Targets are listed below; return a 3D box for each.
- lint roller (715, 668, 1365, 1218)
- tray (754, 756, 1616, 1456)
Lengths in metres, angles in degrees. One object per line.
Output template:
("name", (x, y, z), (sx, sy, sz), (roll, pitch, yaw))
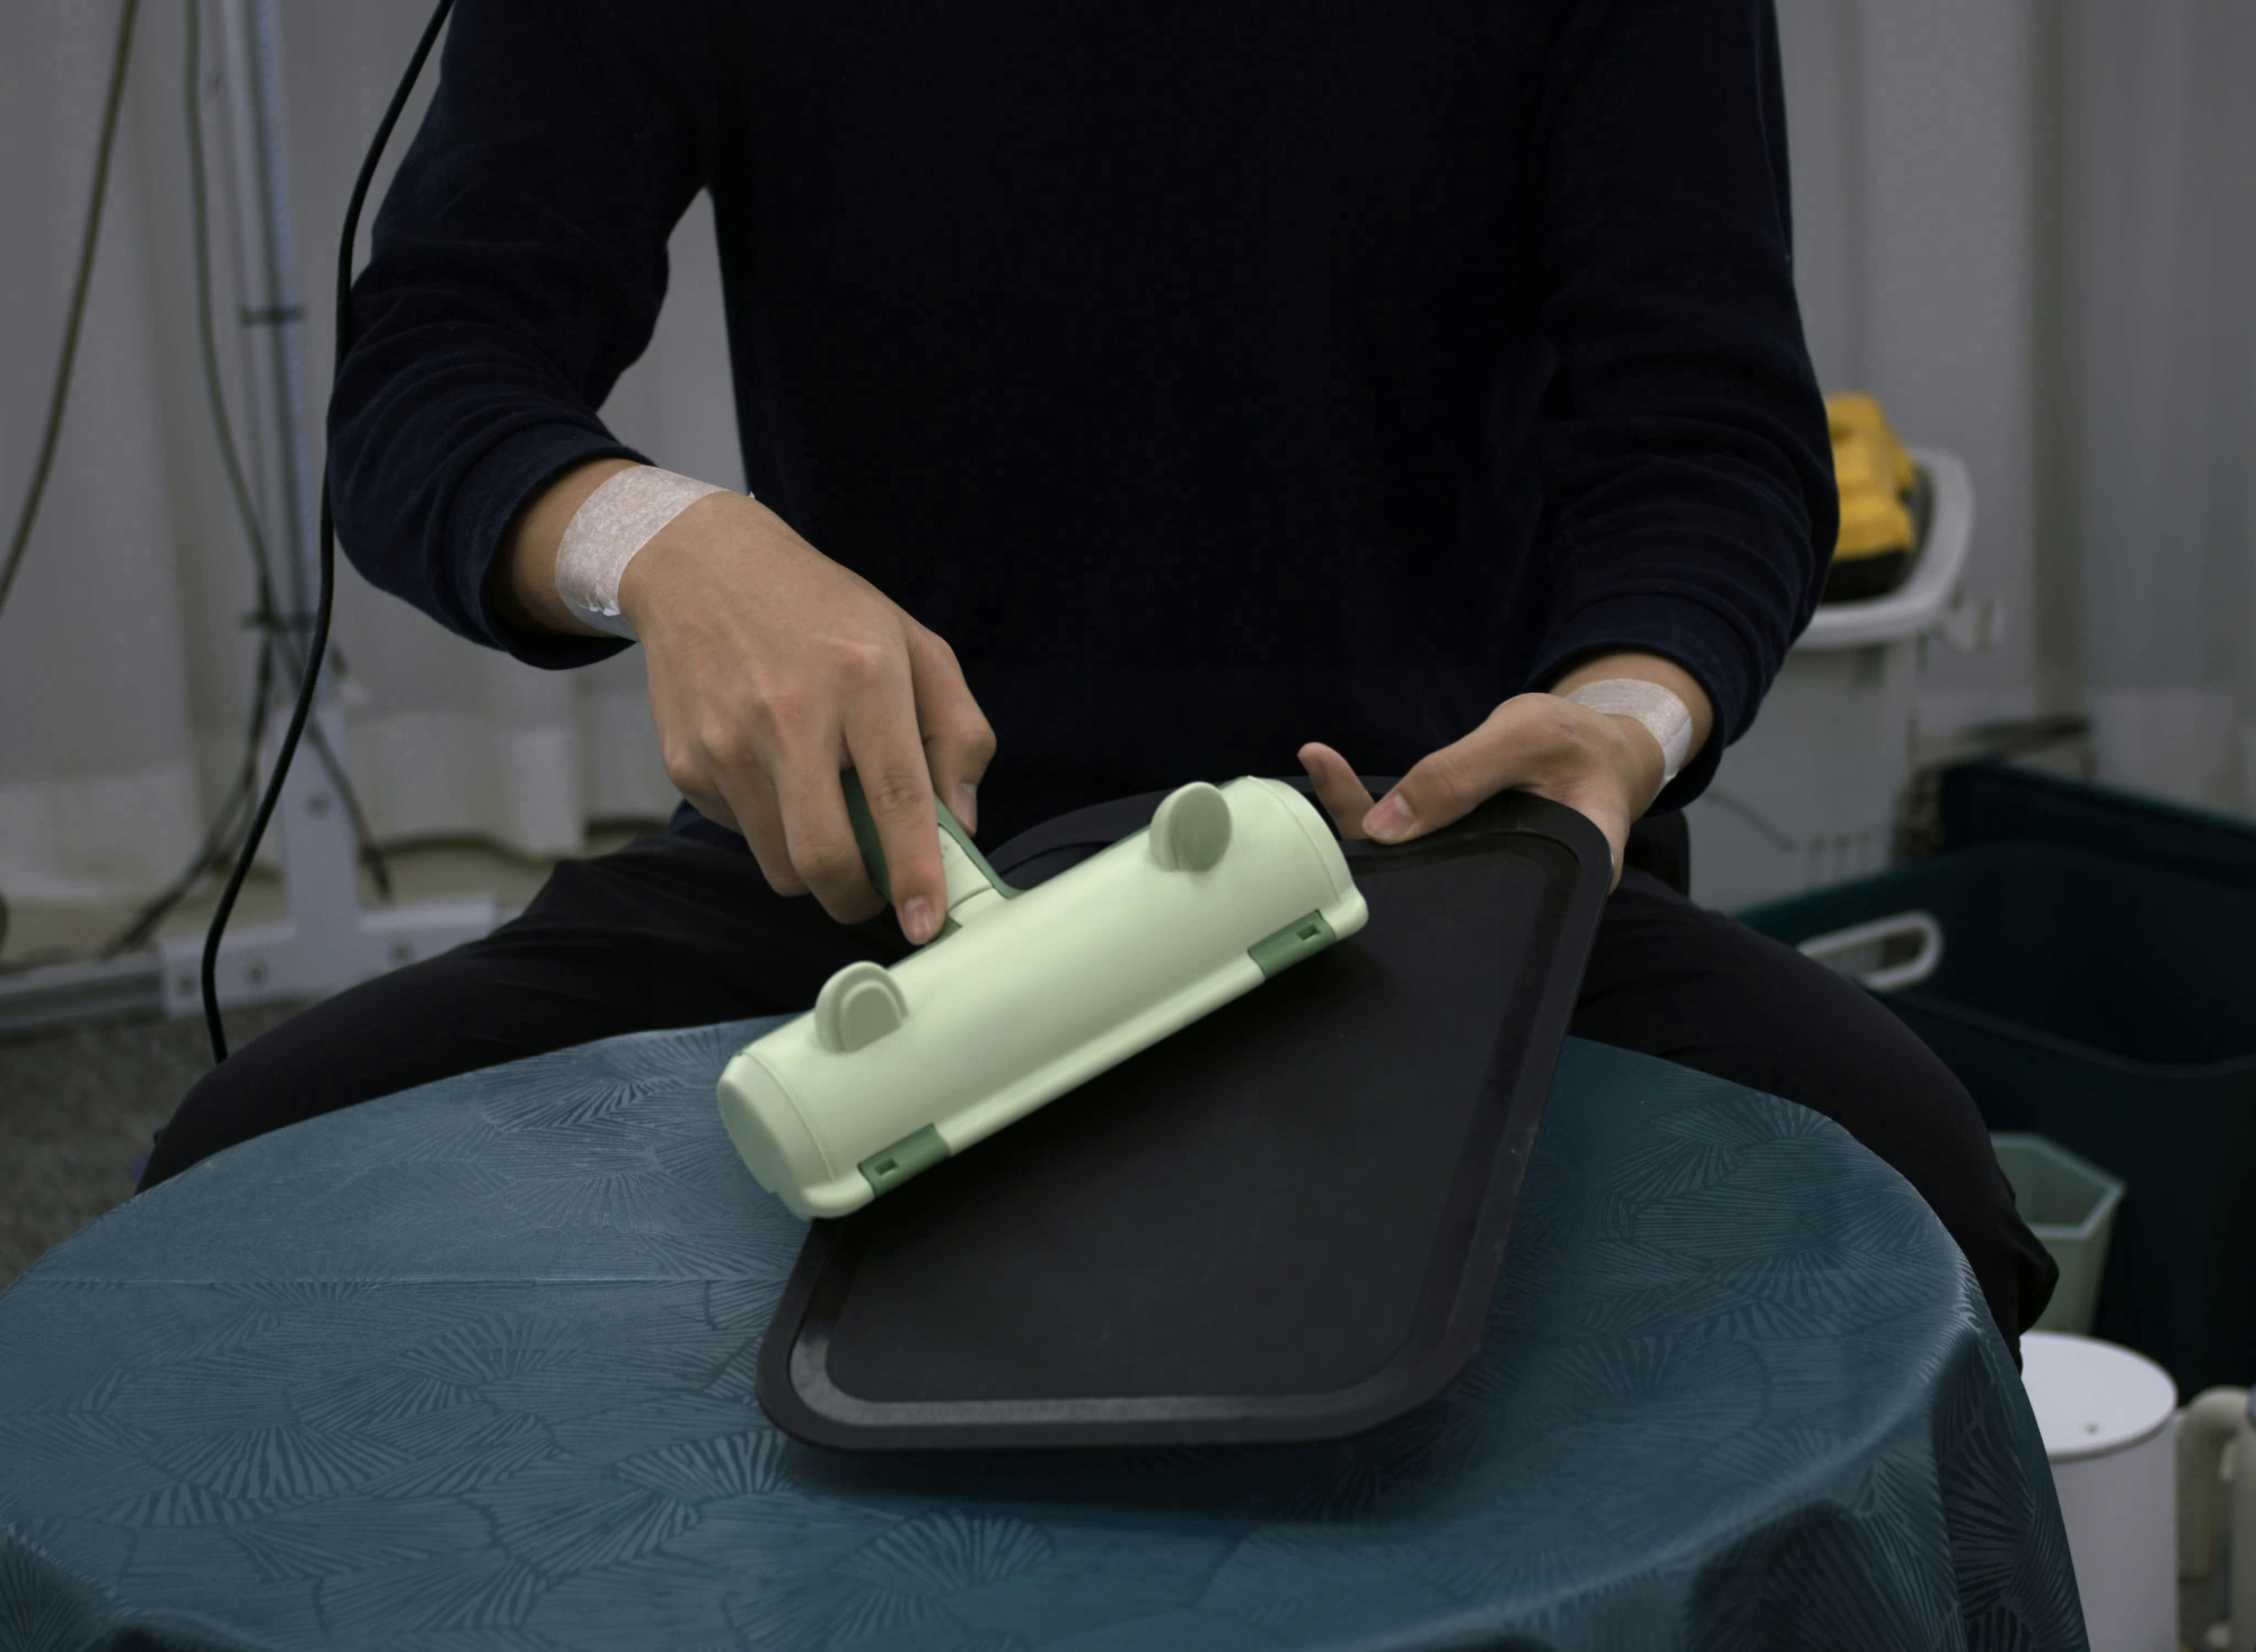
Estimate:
("lint roller", (-0.057, 0.004, 1.612), (0.198, 0.081, 0.185), (-29, 64, -21))
("tray", (0.023, 0.072, 1.585), (0.211, 0.009, 0.329), (-3, 34, 19))
